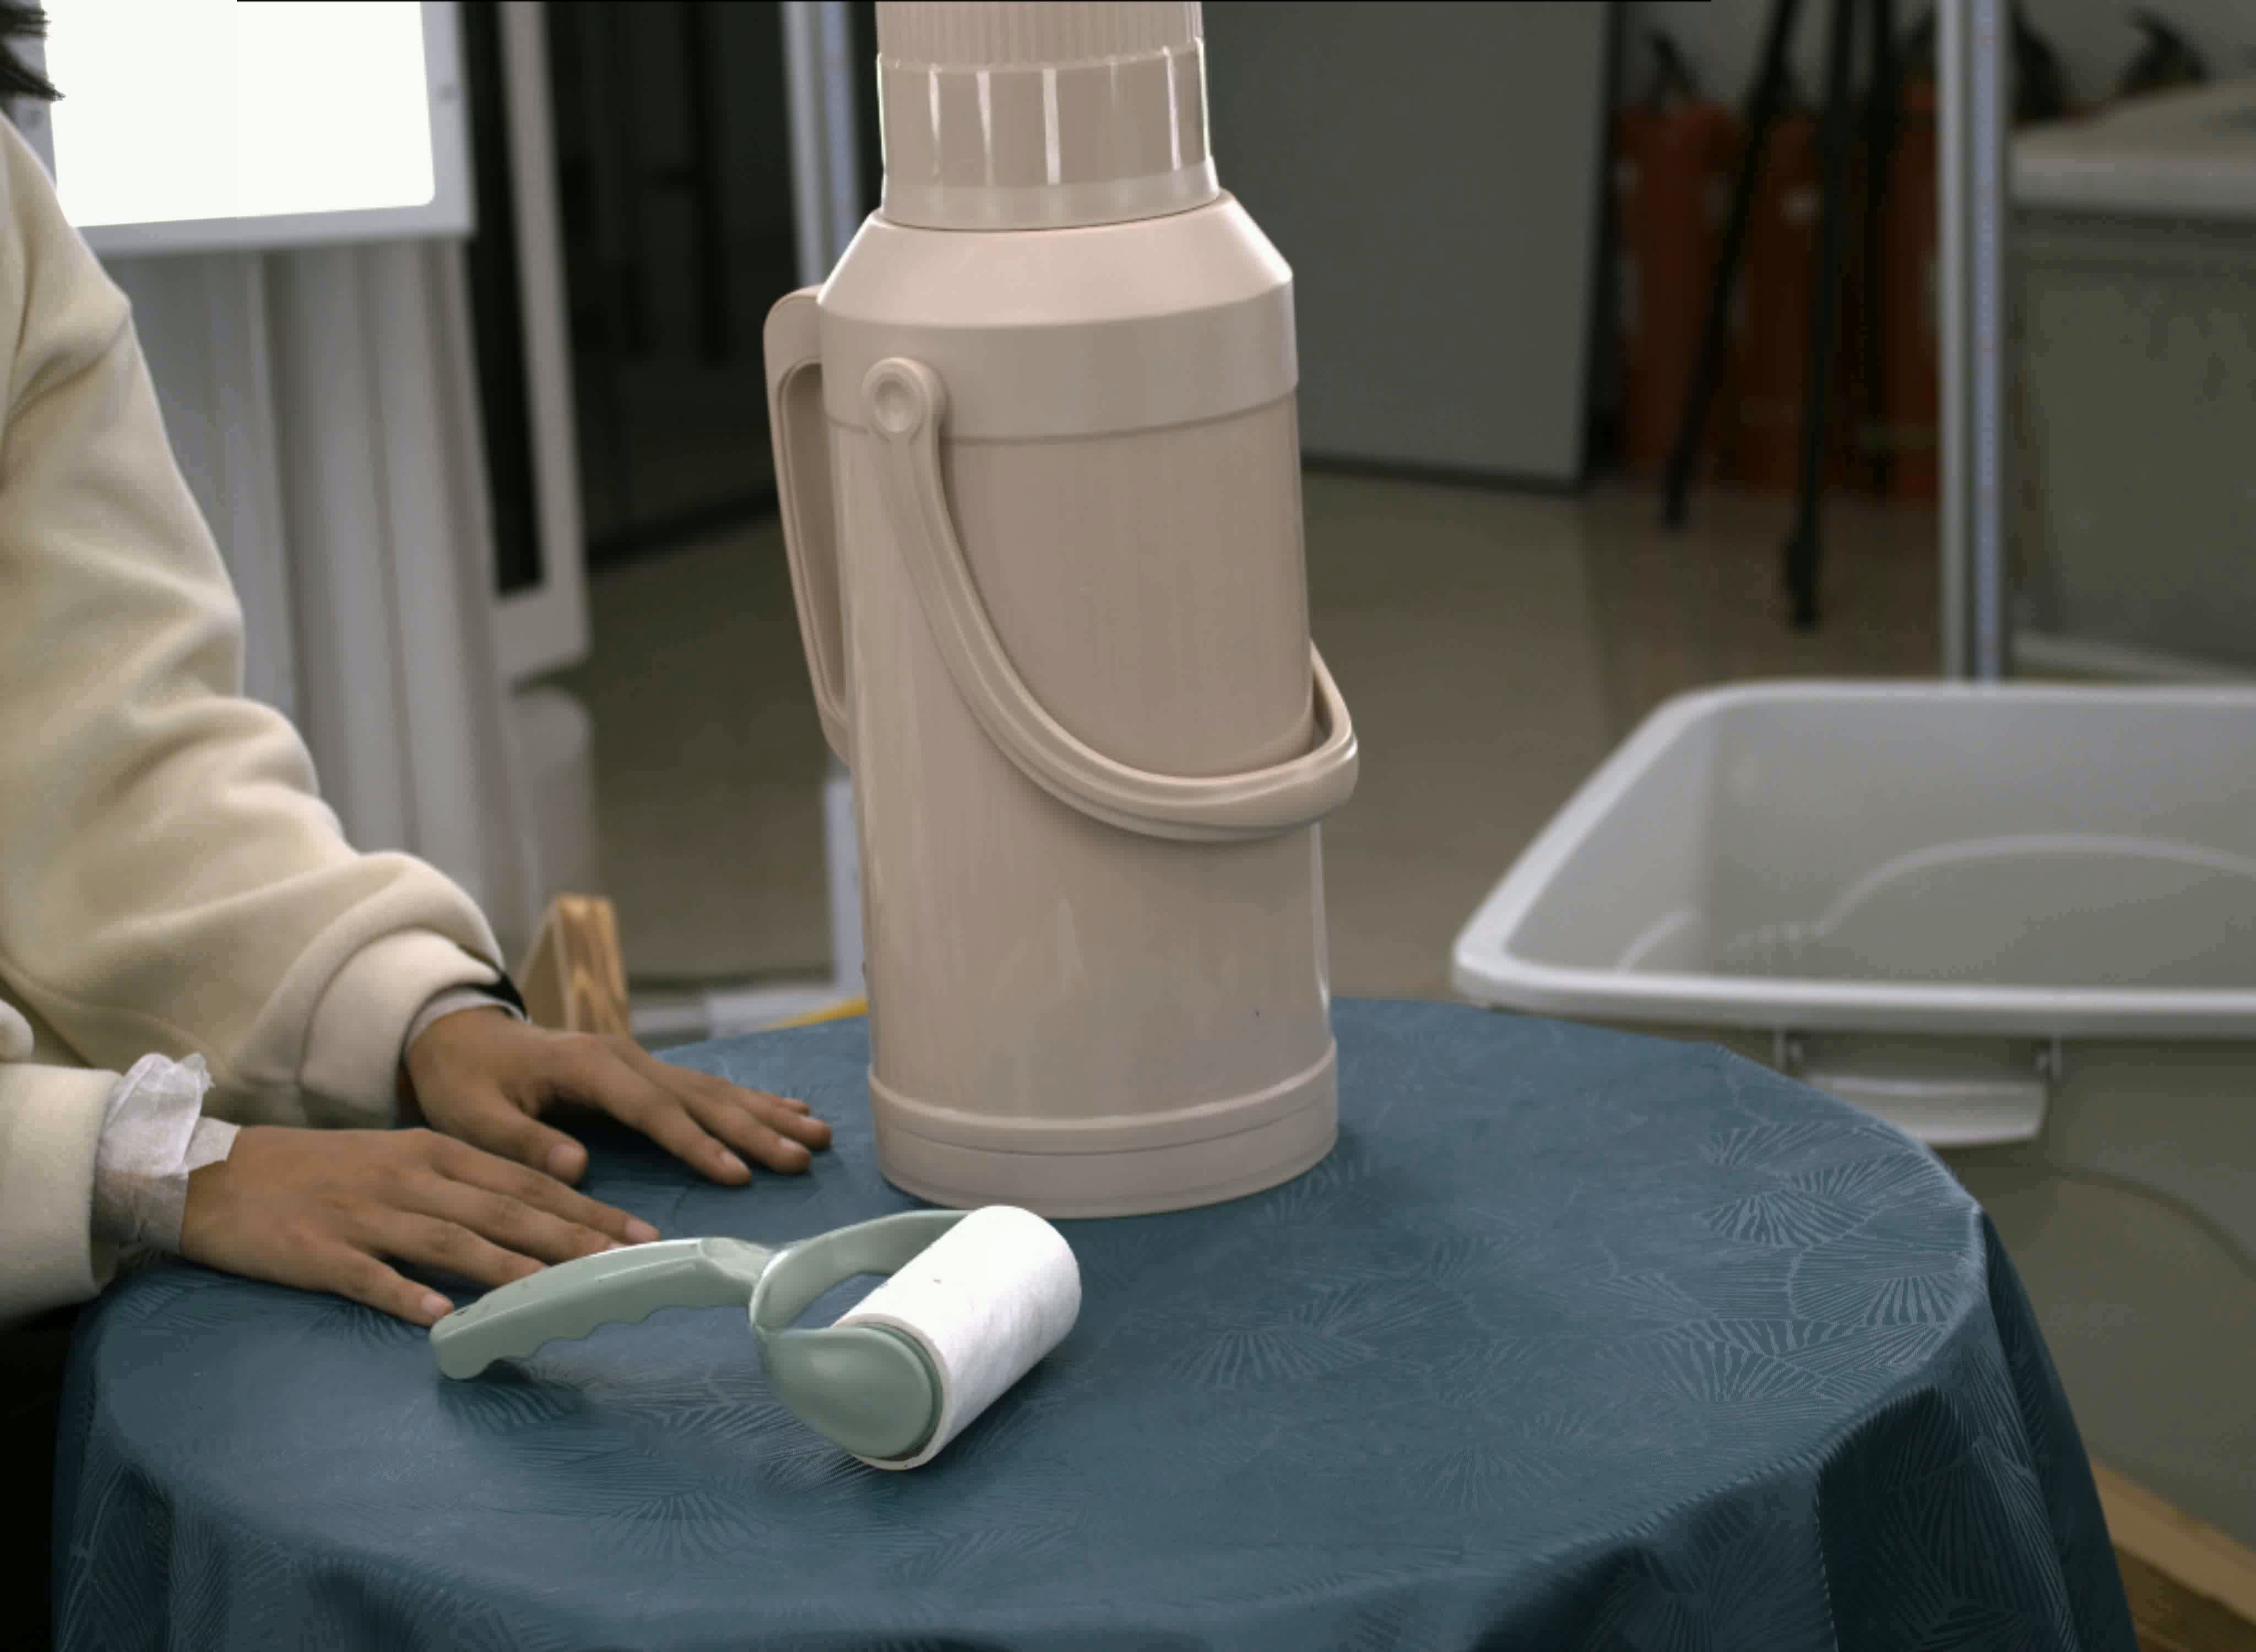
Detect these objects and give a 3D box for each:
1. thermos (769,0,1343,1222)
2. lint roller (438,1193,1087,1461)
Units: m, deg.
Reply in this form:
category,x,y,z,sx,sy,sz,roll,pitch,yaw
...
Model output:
category,x,y,z,sx,sy,sz,roll,pitch,yaw
thermos,-0.029,-0.085,1.783,0.208,0.411,0.172,6,17,37
lint roller,-0.117,0.144,1.611,0.197,0.049,0.115,2,17,24
